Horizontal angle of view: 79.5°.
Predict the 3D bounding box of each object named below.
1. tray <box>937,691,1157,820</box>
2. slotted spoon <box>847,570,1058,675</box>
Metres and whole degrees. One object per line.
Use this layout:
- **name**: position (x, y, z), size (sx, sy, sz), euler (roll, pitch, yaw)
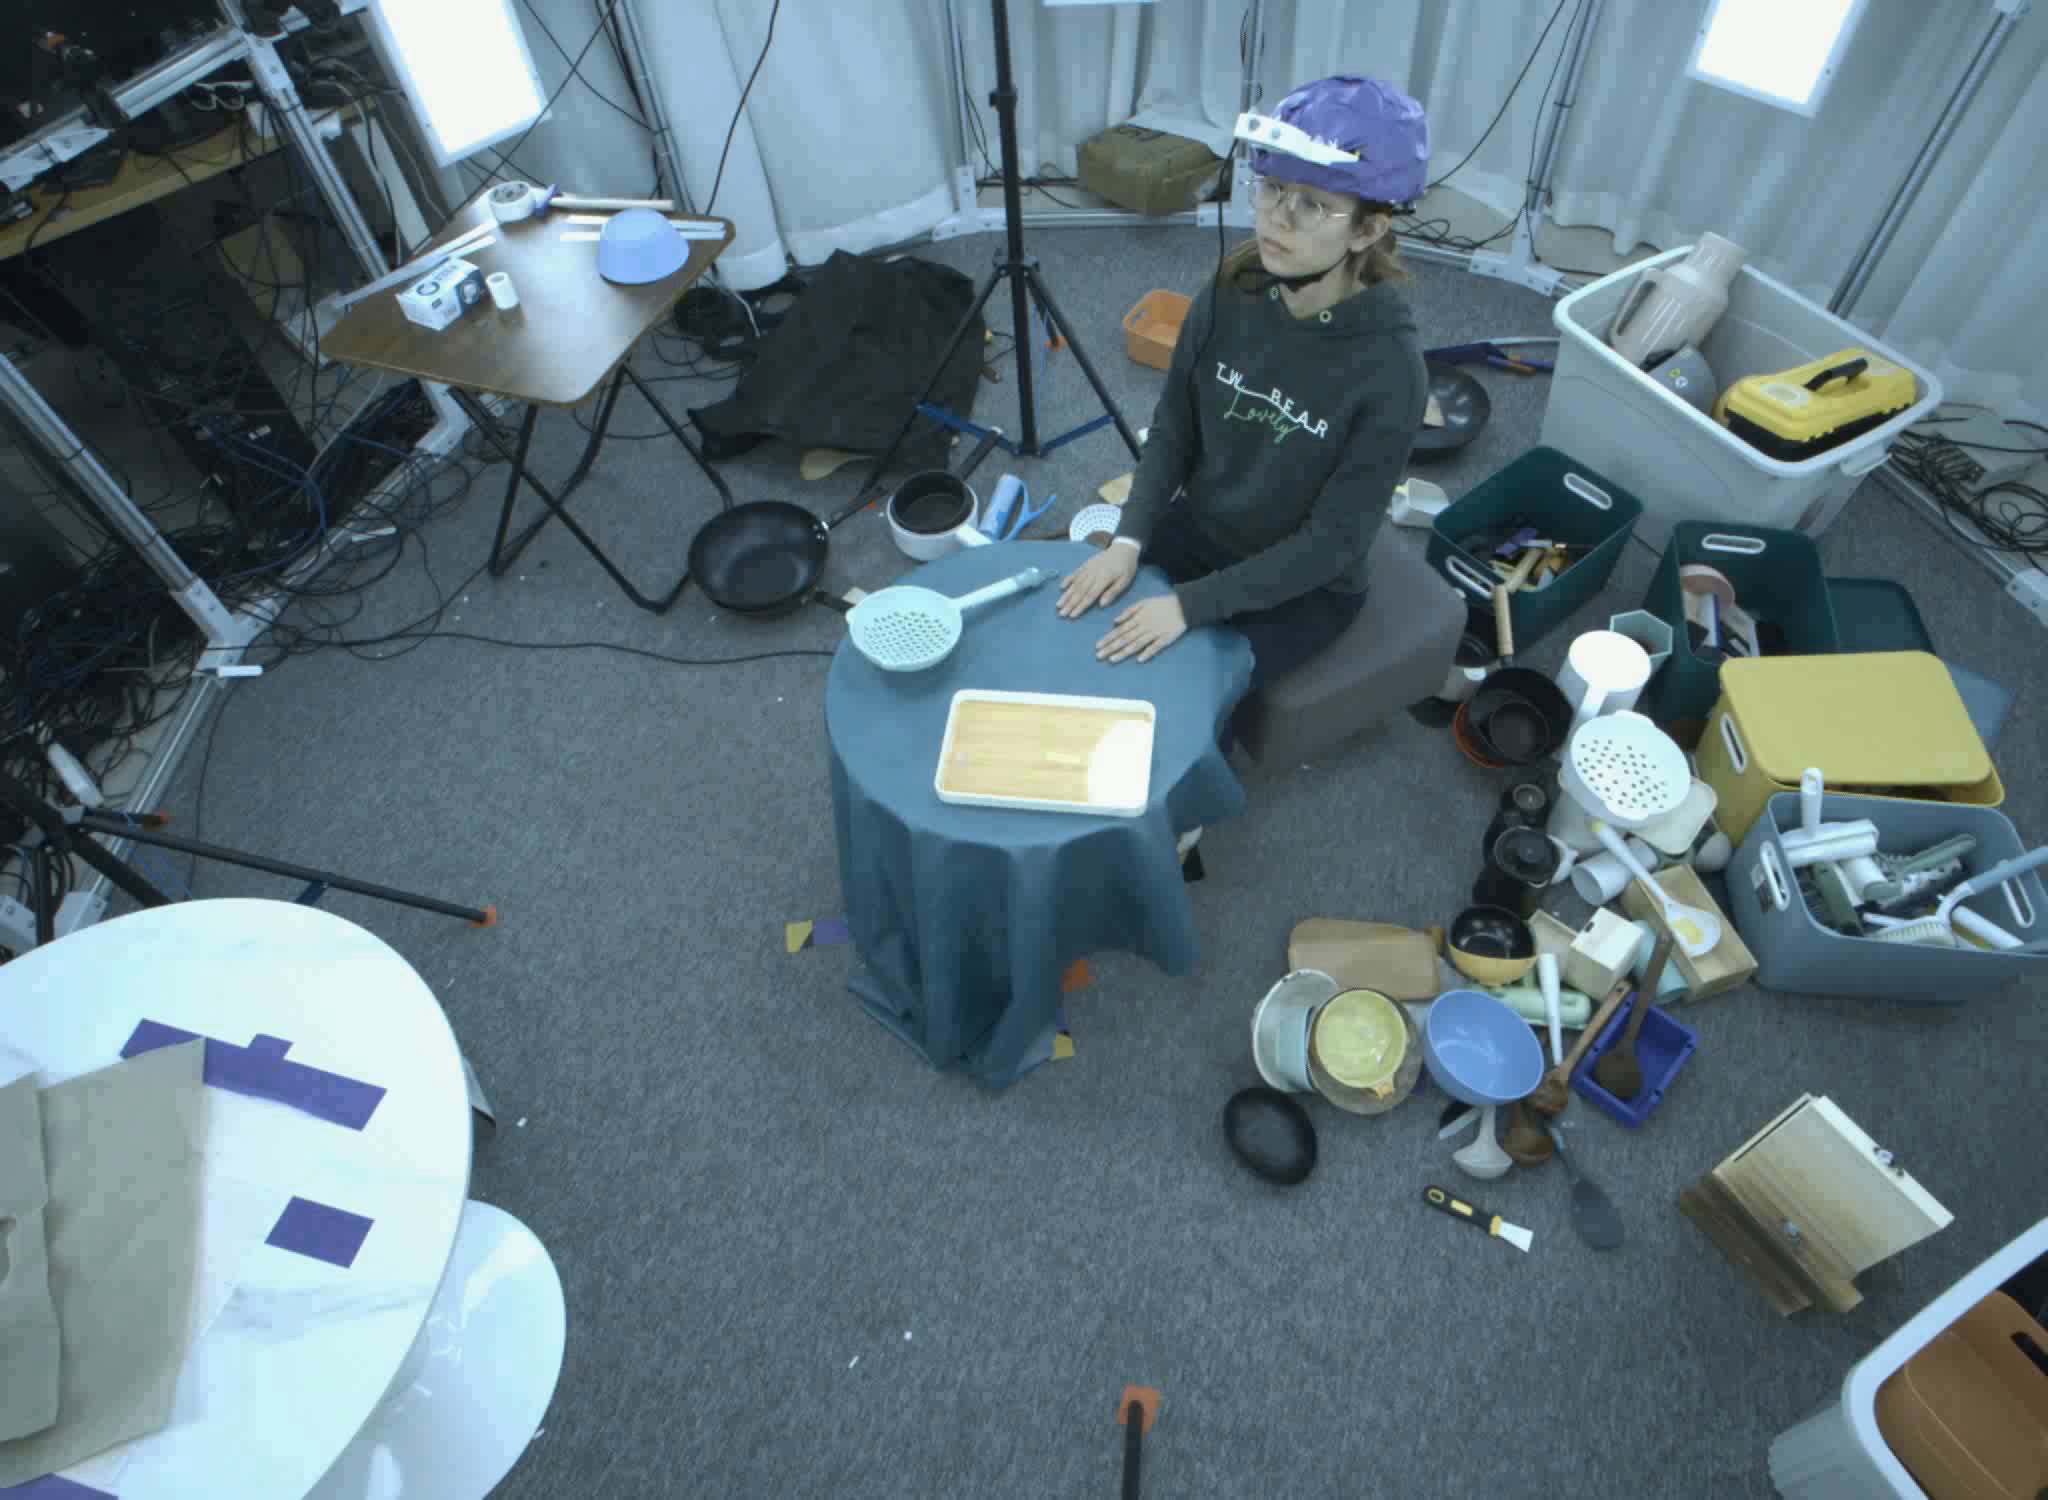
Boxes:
- **tray**: position (0.036, 0.006, 1.777), size (0.299, 0.028, 0.190), euler (5, 55, 5)
- **slotted spoon**: position (-0.099, -0.219, 1.914), size (0.362, 0.076, 0.166), euler (-30, 60, -18)
